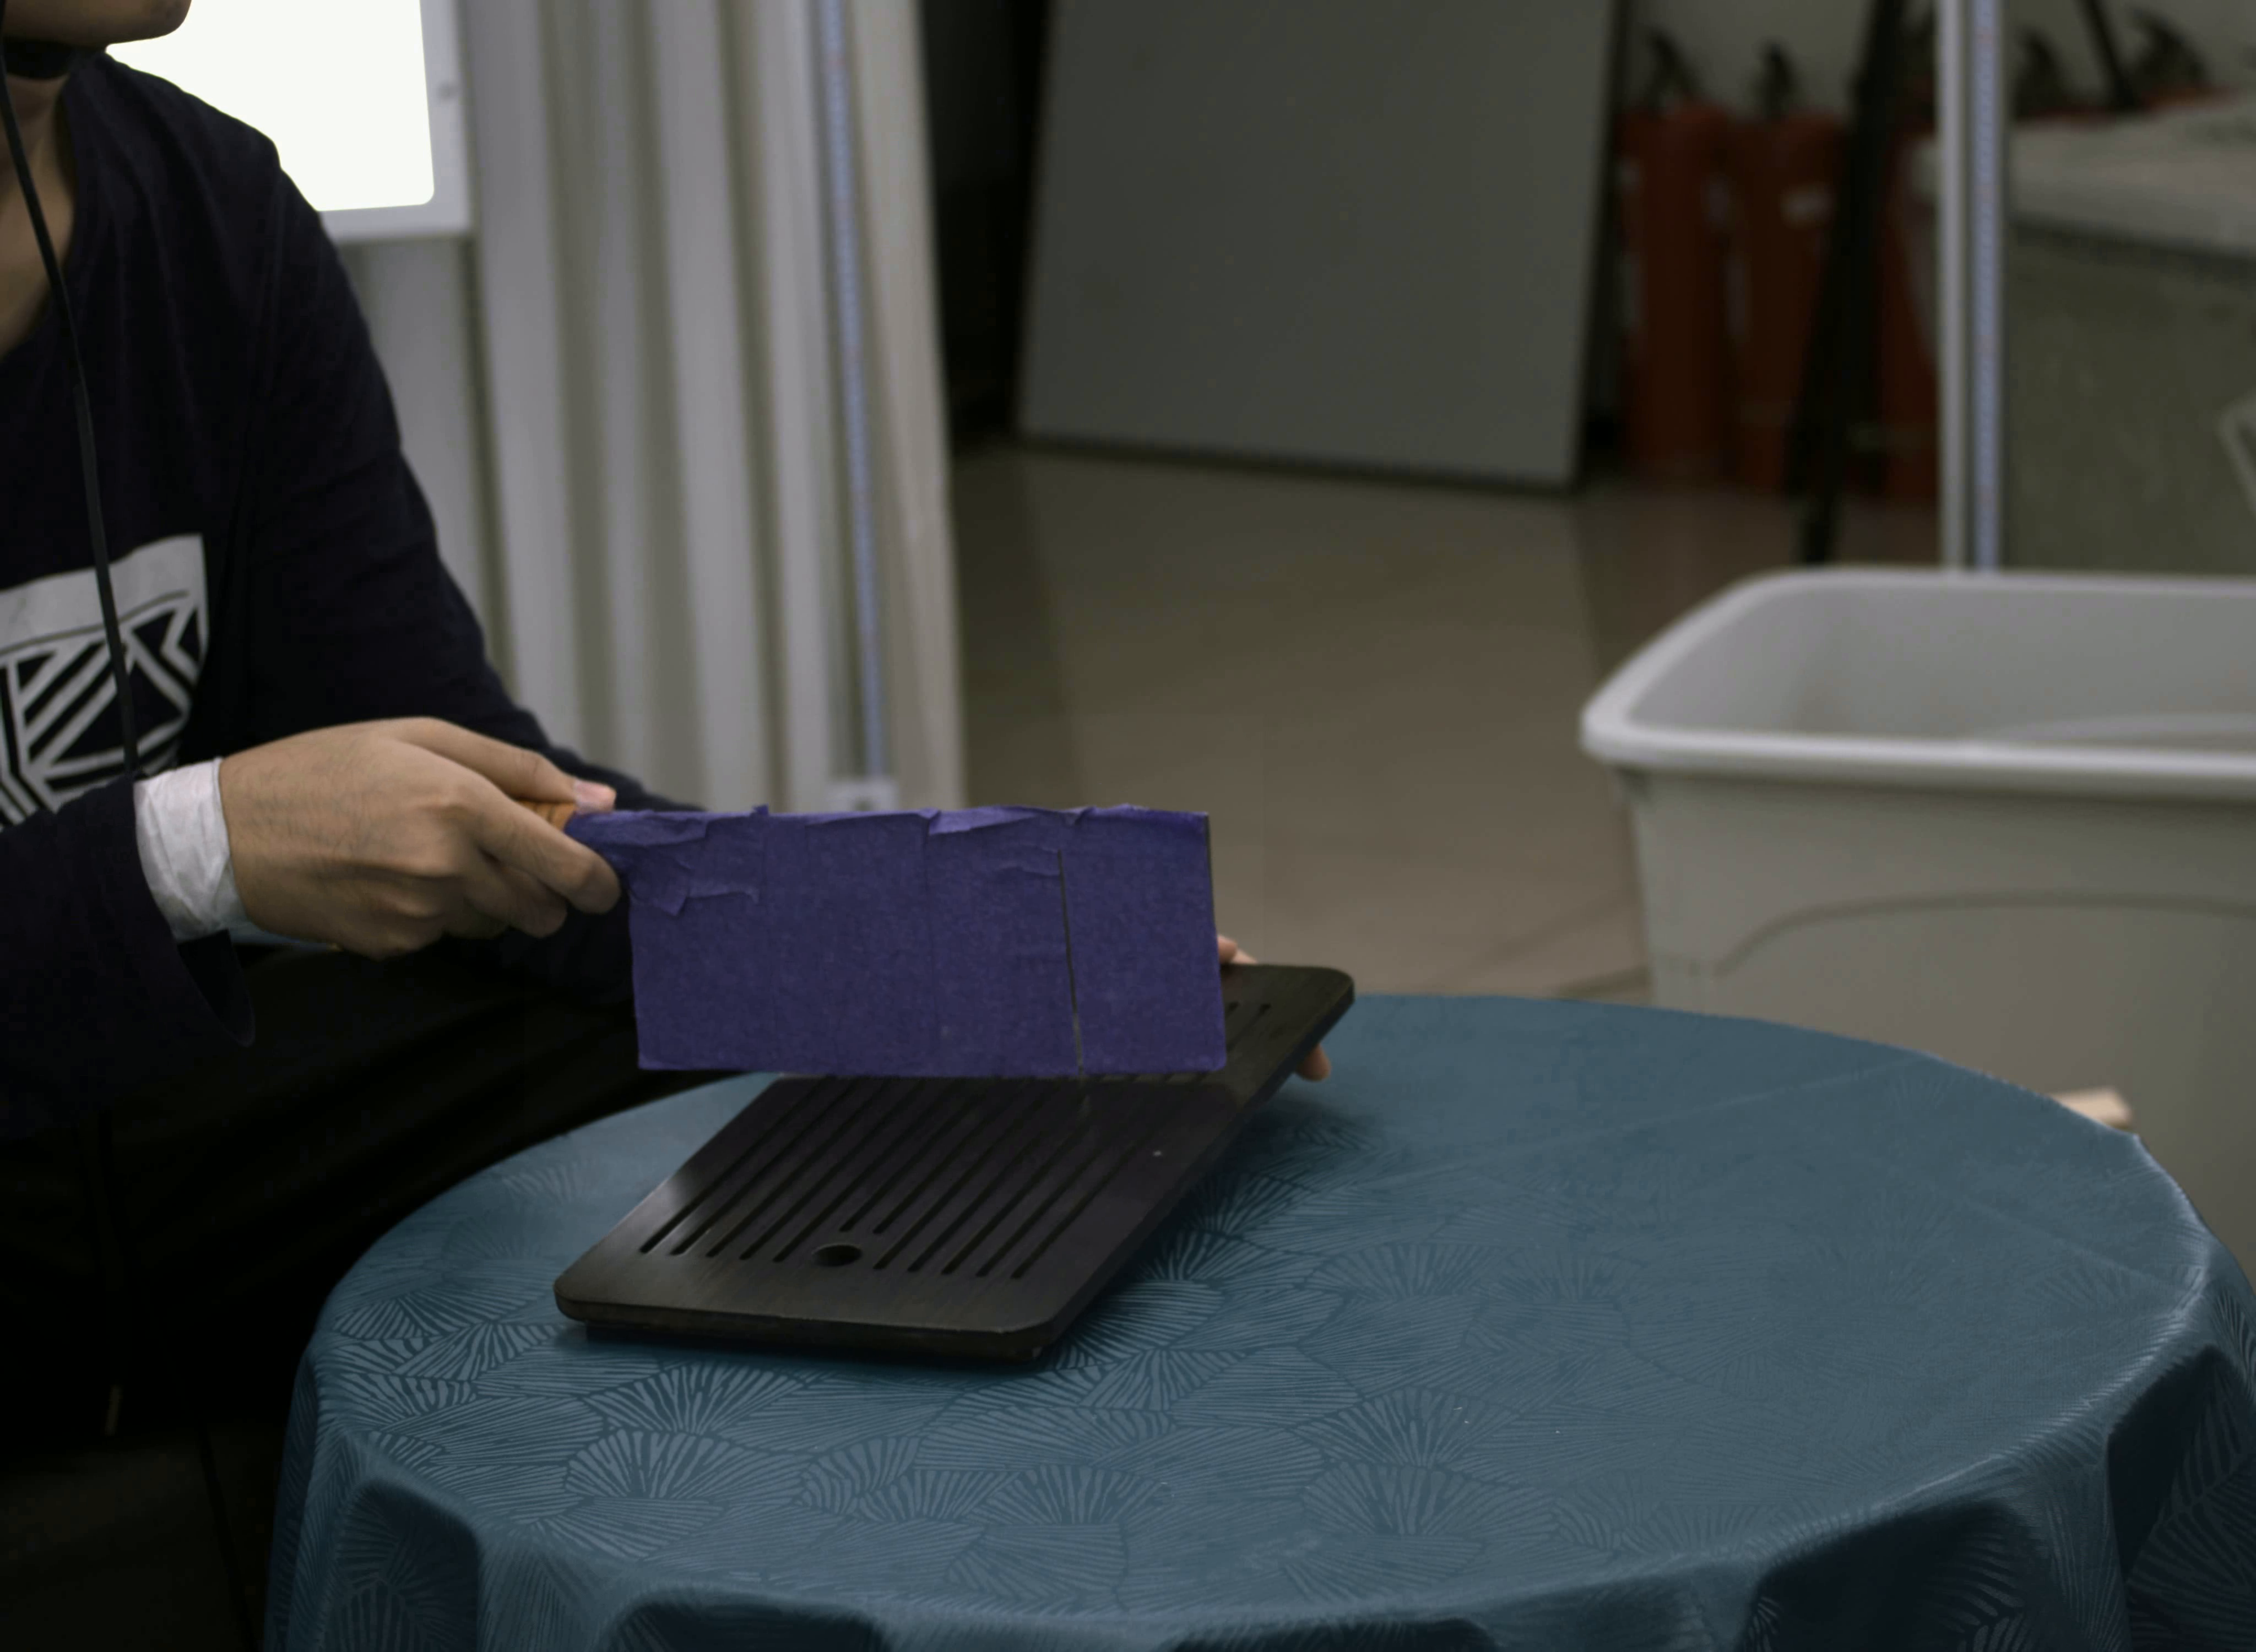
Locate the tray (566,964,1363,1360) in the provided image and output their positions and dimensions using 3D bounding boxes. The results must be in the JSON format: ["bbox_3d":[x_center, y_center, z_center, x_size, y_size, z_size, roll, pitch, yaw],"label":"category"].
[{"bbox_3d":[-0.045,0.105,1.760,0.170,0.019,0.303,1,20,23],"label":"tray"}]

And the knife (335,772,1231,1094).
[{"bbox_3d":[-0.118,0.039,1.807,0.315,0.105,0.032,-2,8,21],"label":"knife"}]
